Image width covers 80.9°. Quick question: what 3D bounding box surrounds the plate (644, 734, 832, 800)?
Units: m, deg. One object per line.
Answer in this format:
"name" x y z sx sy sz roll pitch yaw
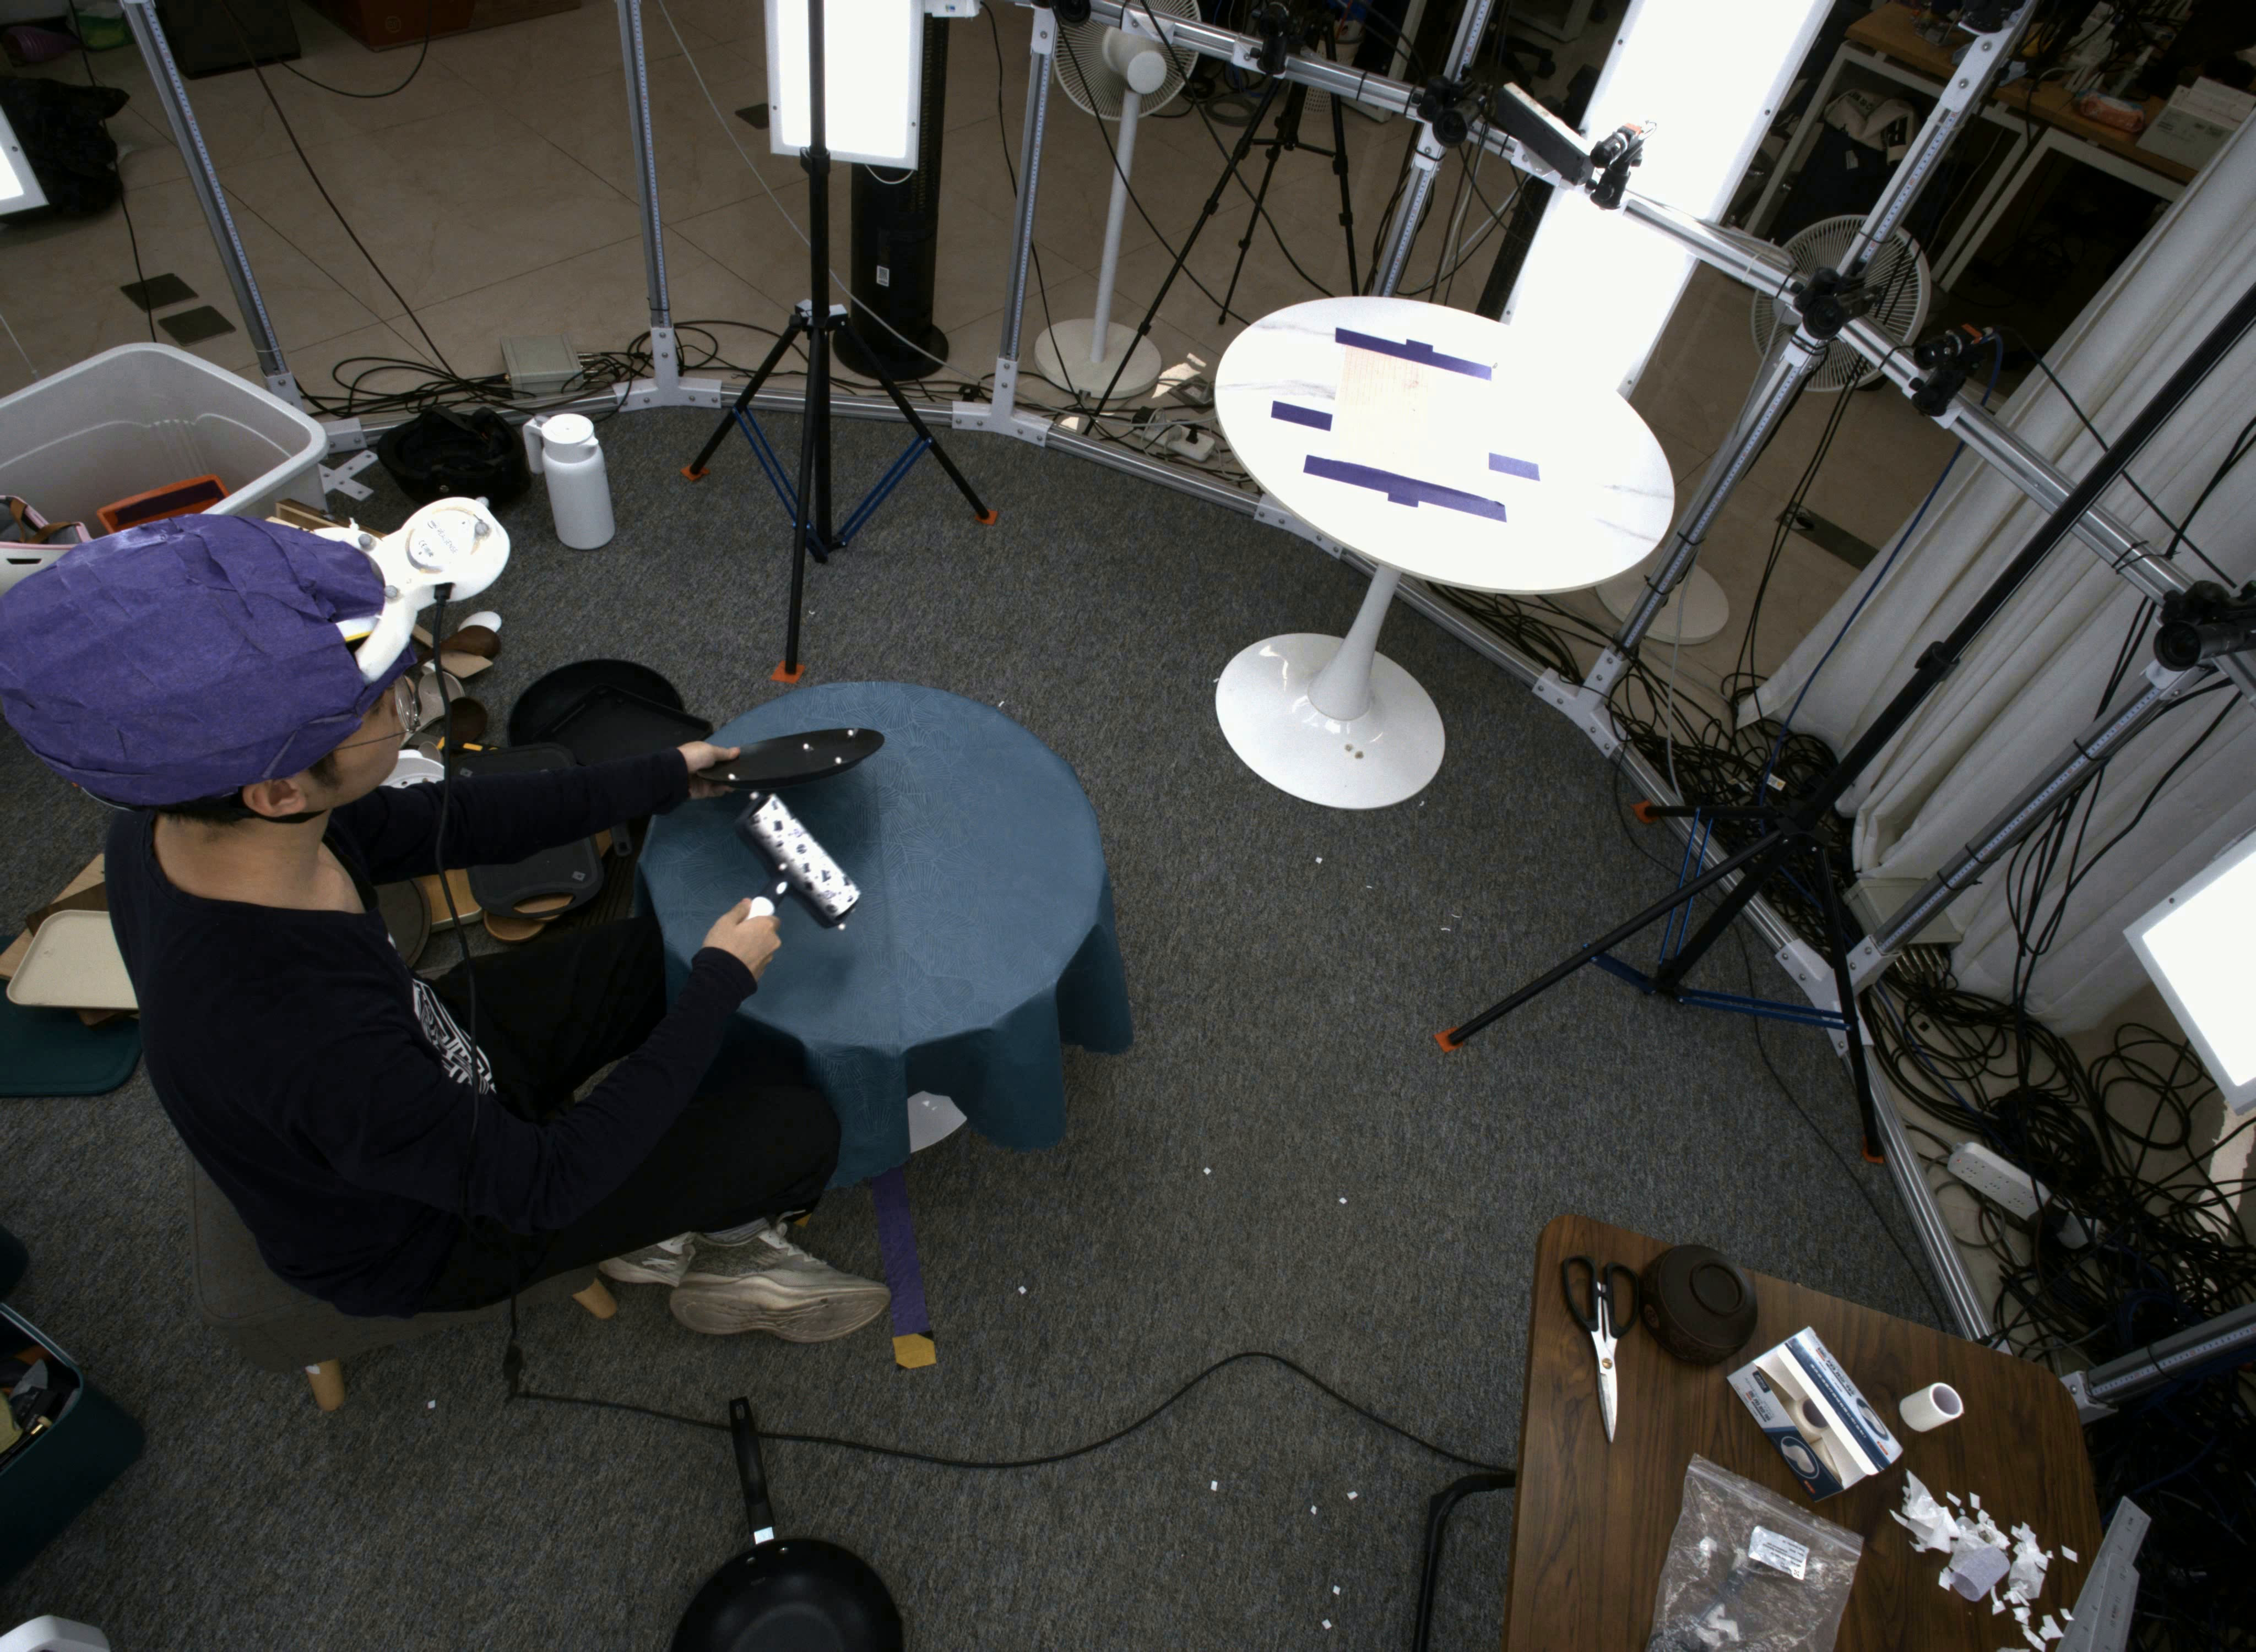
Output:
"plate" -0.501 -0.075 1.667 0.241 0.024 0.241 -6 19 4

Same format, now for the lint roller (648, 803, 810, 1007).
"lint roller" -0.470 0.107 1.459 0.182 0.049 0.244 51 34 -25
